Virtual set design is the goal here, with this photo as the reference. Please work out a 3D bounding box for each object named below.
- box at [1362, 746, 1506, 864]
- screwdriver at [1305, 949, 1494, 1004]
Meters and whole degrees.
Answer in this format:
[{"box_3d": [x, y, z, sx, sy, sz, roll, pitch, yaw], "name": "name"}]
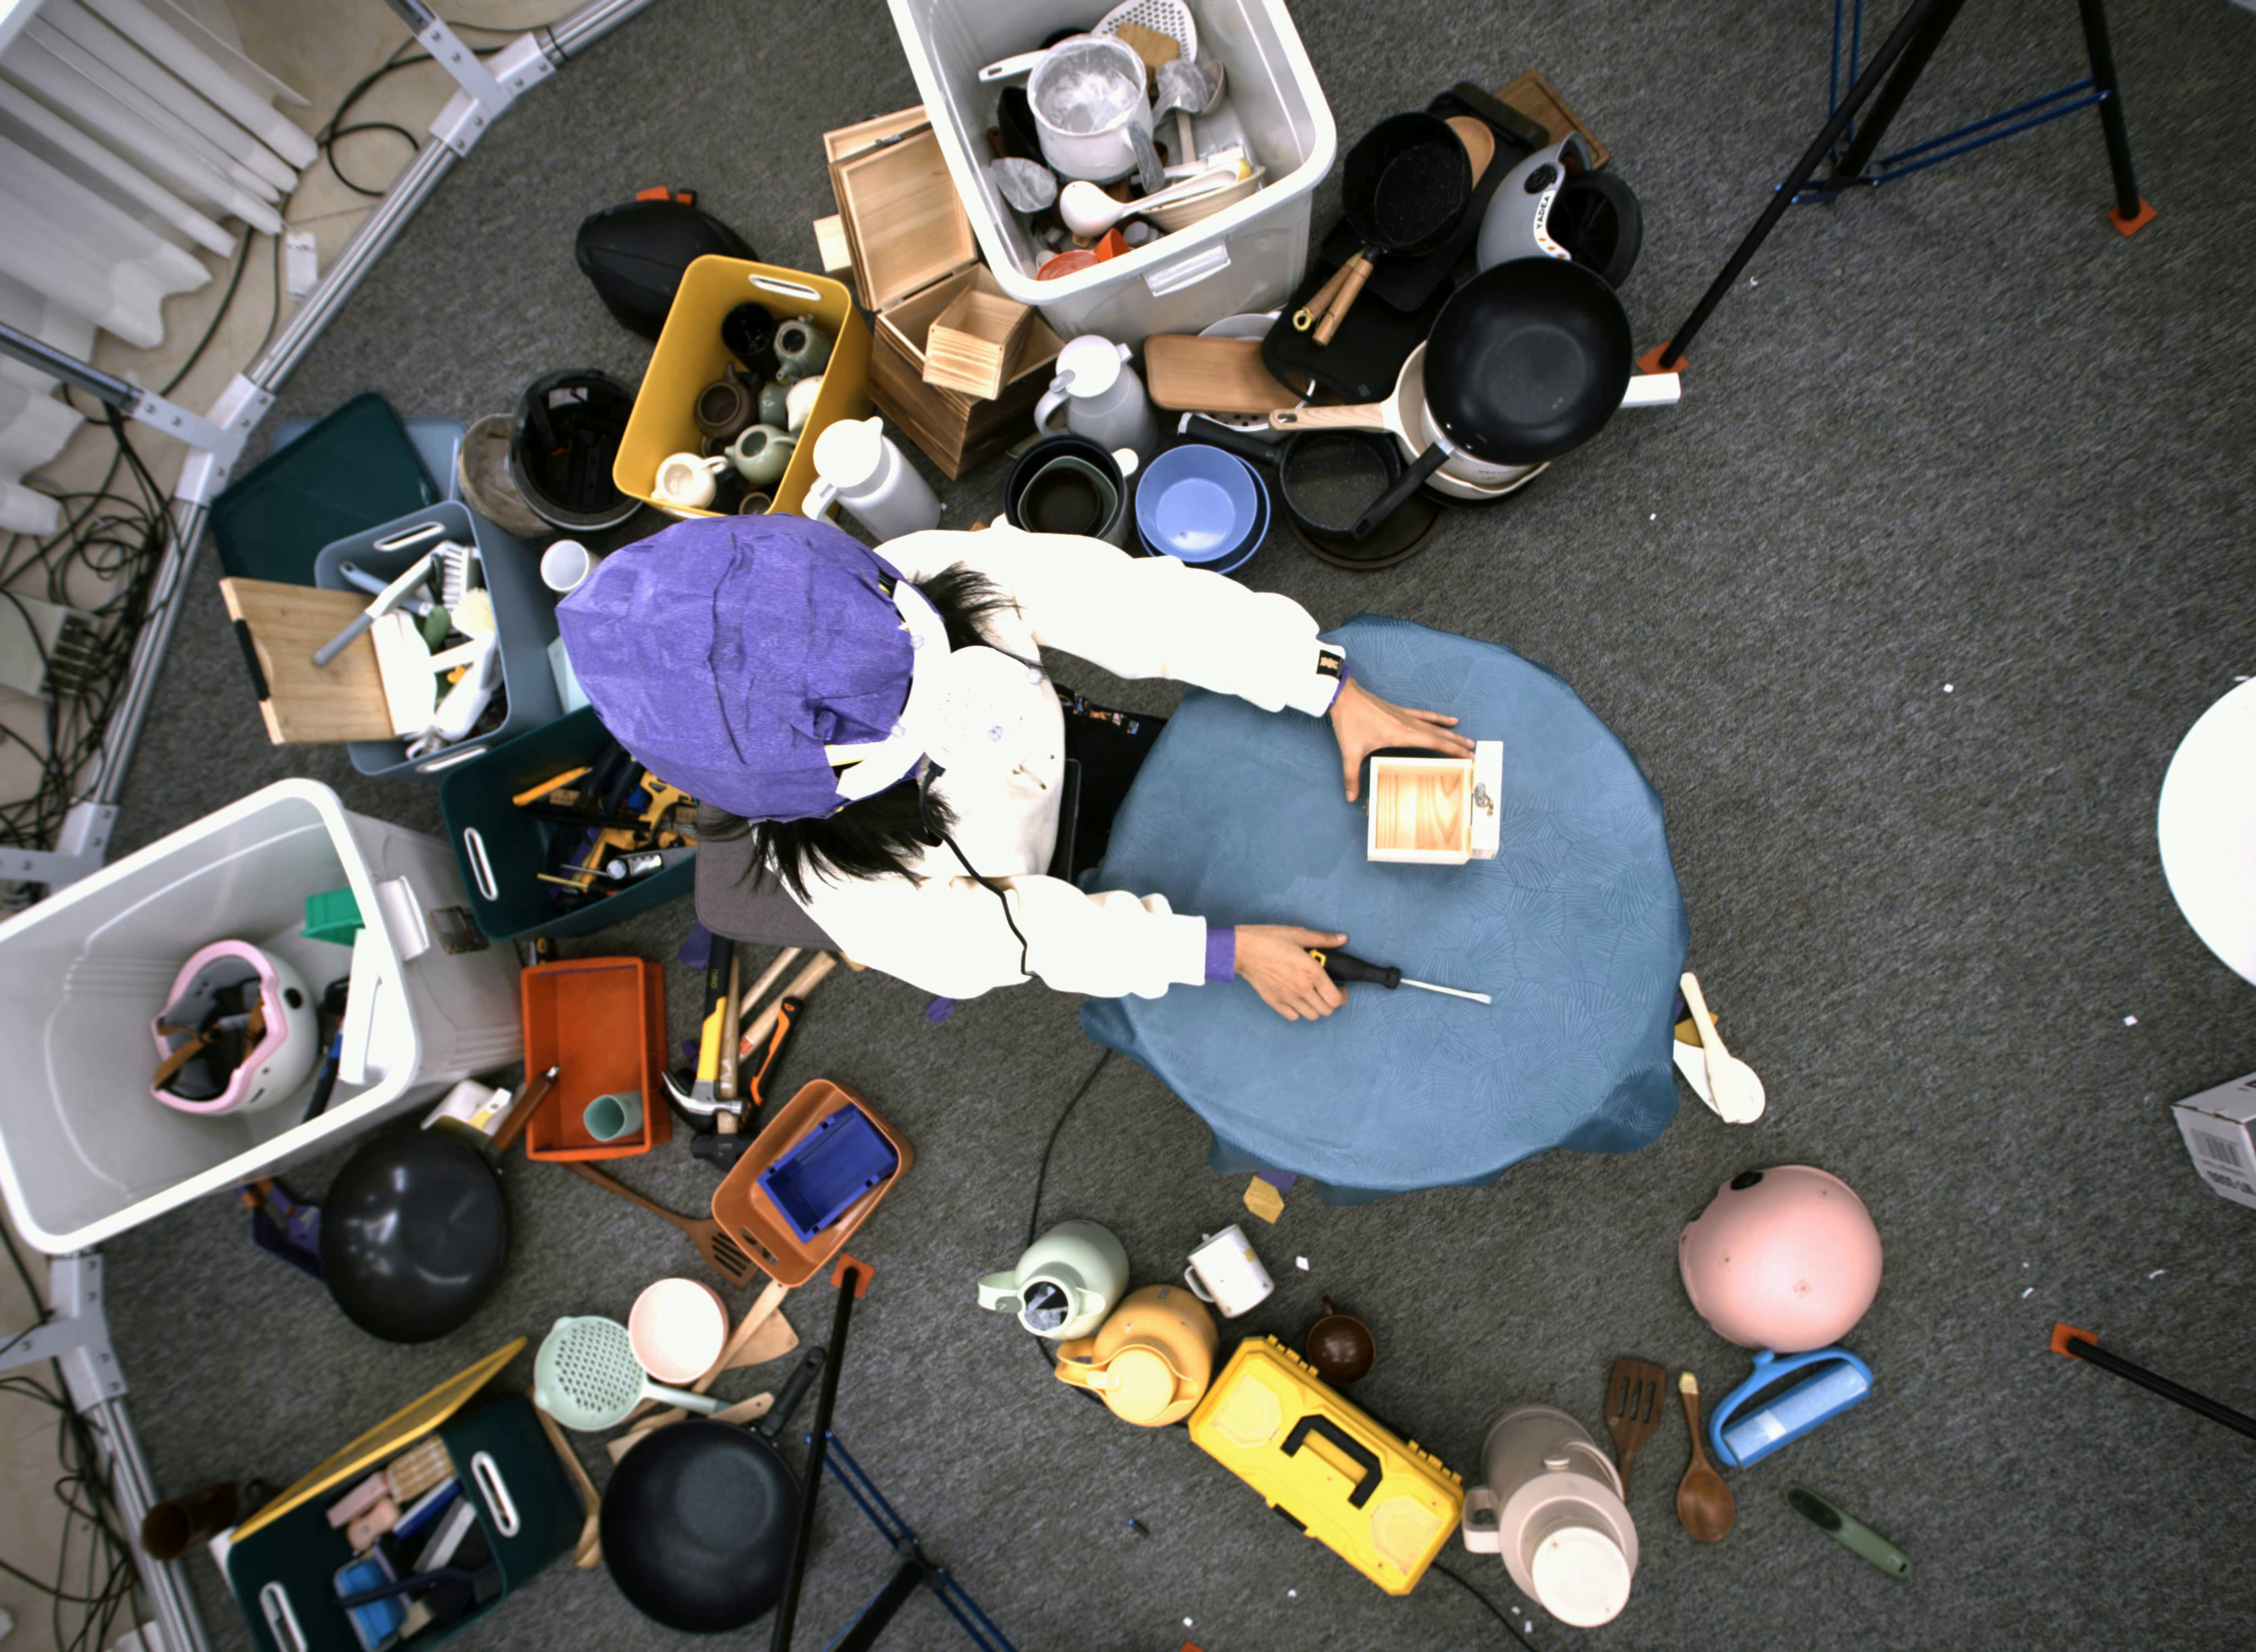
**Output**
[{"box_3d": [0.300, -0.021, 1.367, 0.134, 0.184, 0.102, 3, 86, 9], "name": "box"}, {"box_3d": [0.282, 0.162, 1.442, 0.198, 0.031, 0.031, 15, 88, 9], "name": "screwdriver"}]
